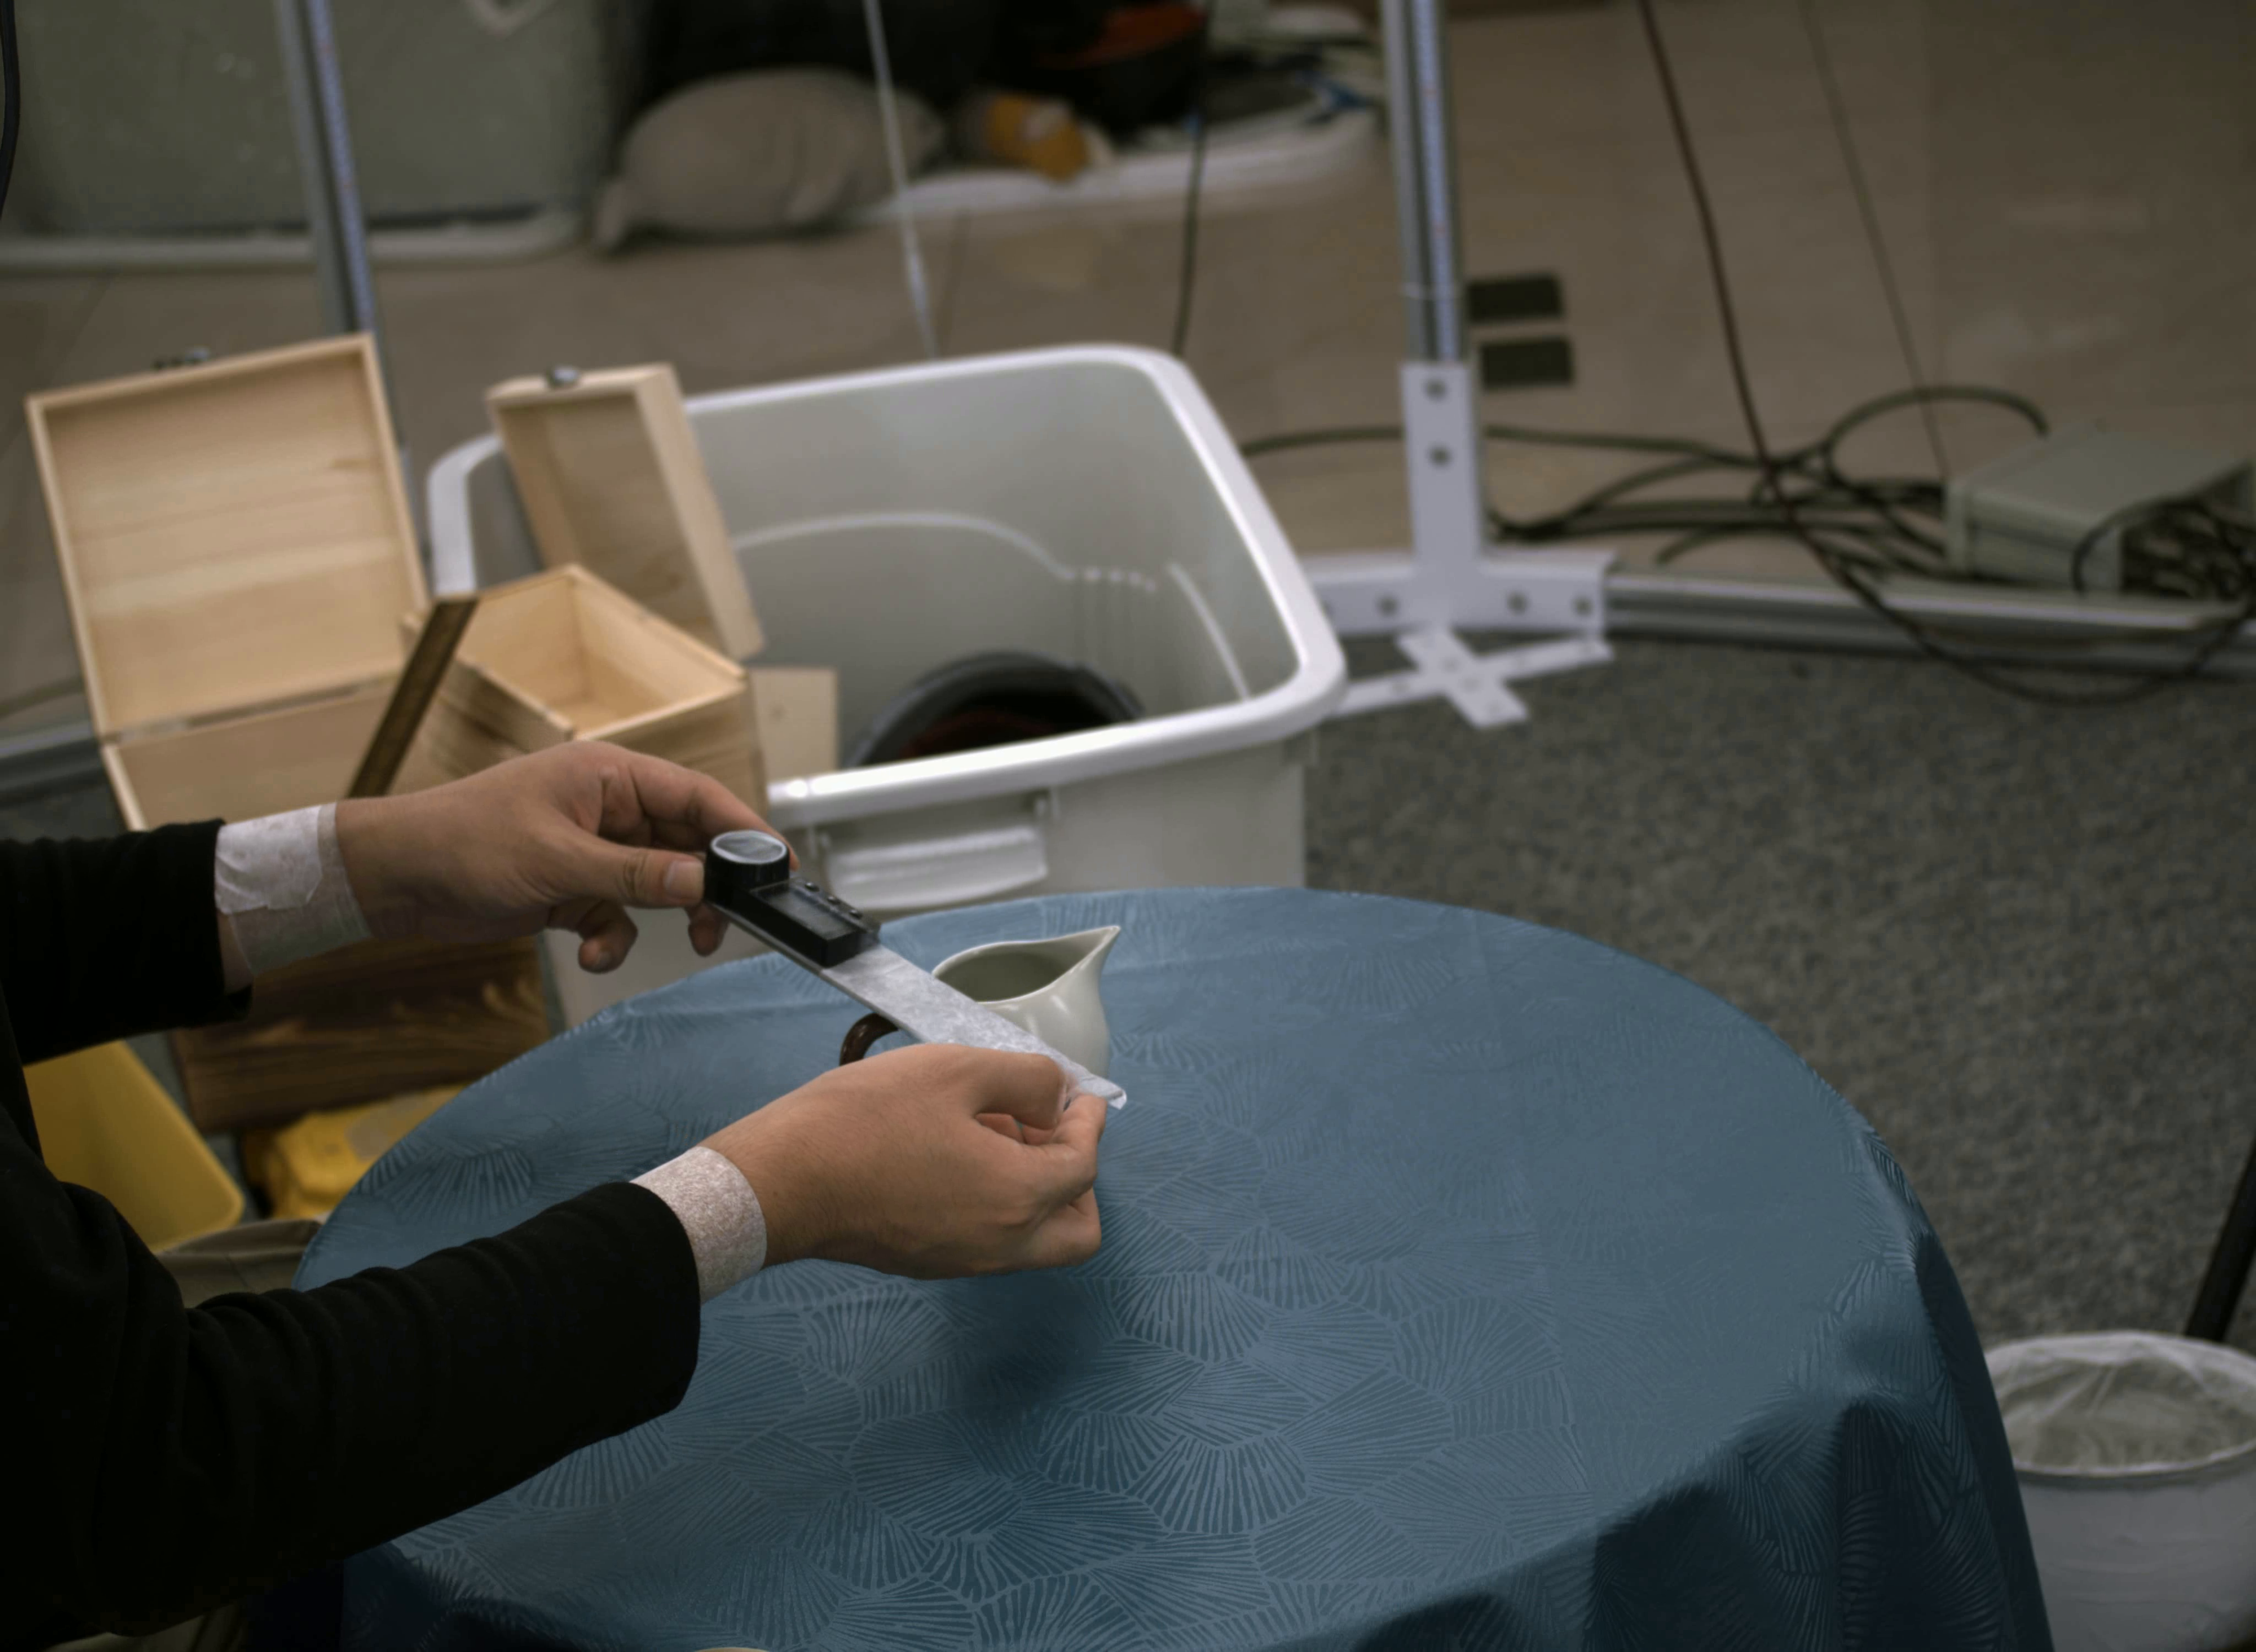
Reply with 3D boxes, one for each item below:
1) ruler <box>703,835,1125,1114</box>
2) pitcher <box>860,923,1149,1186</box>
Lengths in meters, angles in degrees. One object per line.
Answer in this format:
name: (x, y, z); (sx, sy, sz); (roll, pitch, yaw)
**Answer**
ruler: (-0.085, 0.052, 2.111); (0.038, 0.024, 0.216); (-24, 36, -35)
pitcher: (-0.043, 0.091, 2.159); (0.119, 0.089, 0.075); (-12, 23, -15)
